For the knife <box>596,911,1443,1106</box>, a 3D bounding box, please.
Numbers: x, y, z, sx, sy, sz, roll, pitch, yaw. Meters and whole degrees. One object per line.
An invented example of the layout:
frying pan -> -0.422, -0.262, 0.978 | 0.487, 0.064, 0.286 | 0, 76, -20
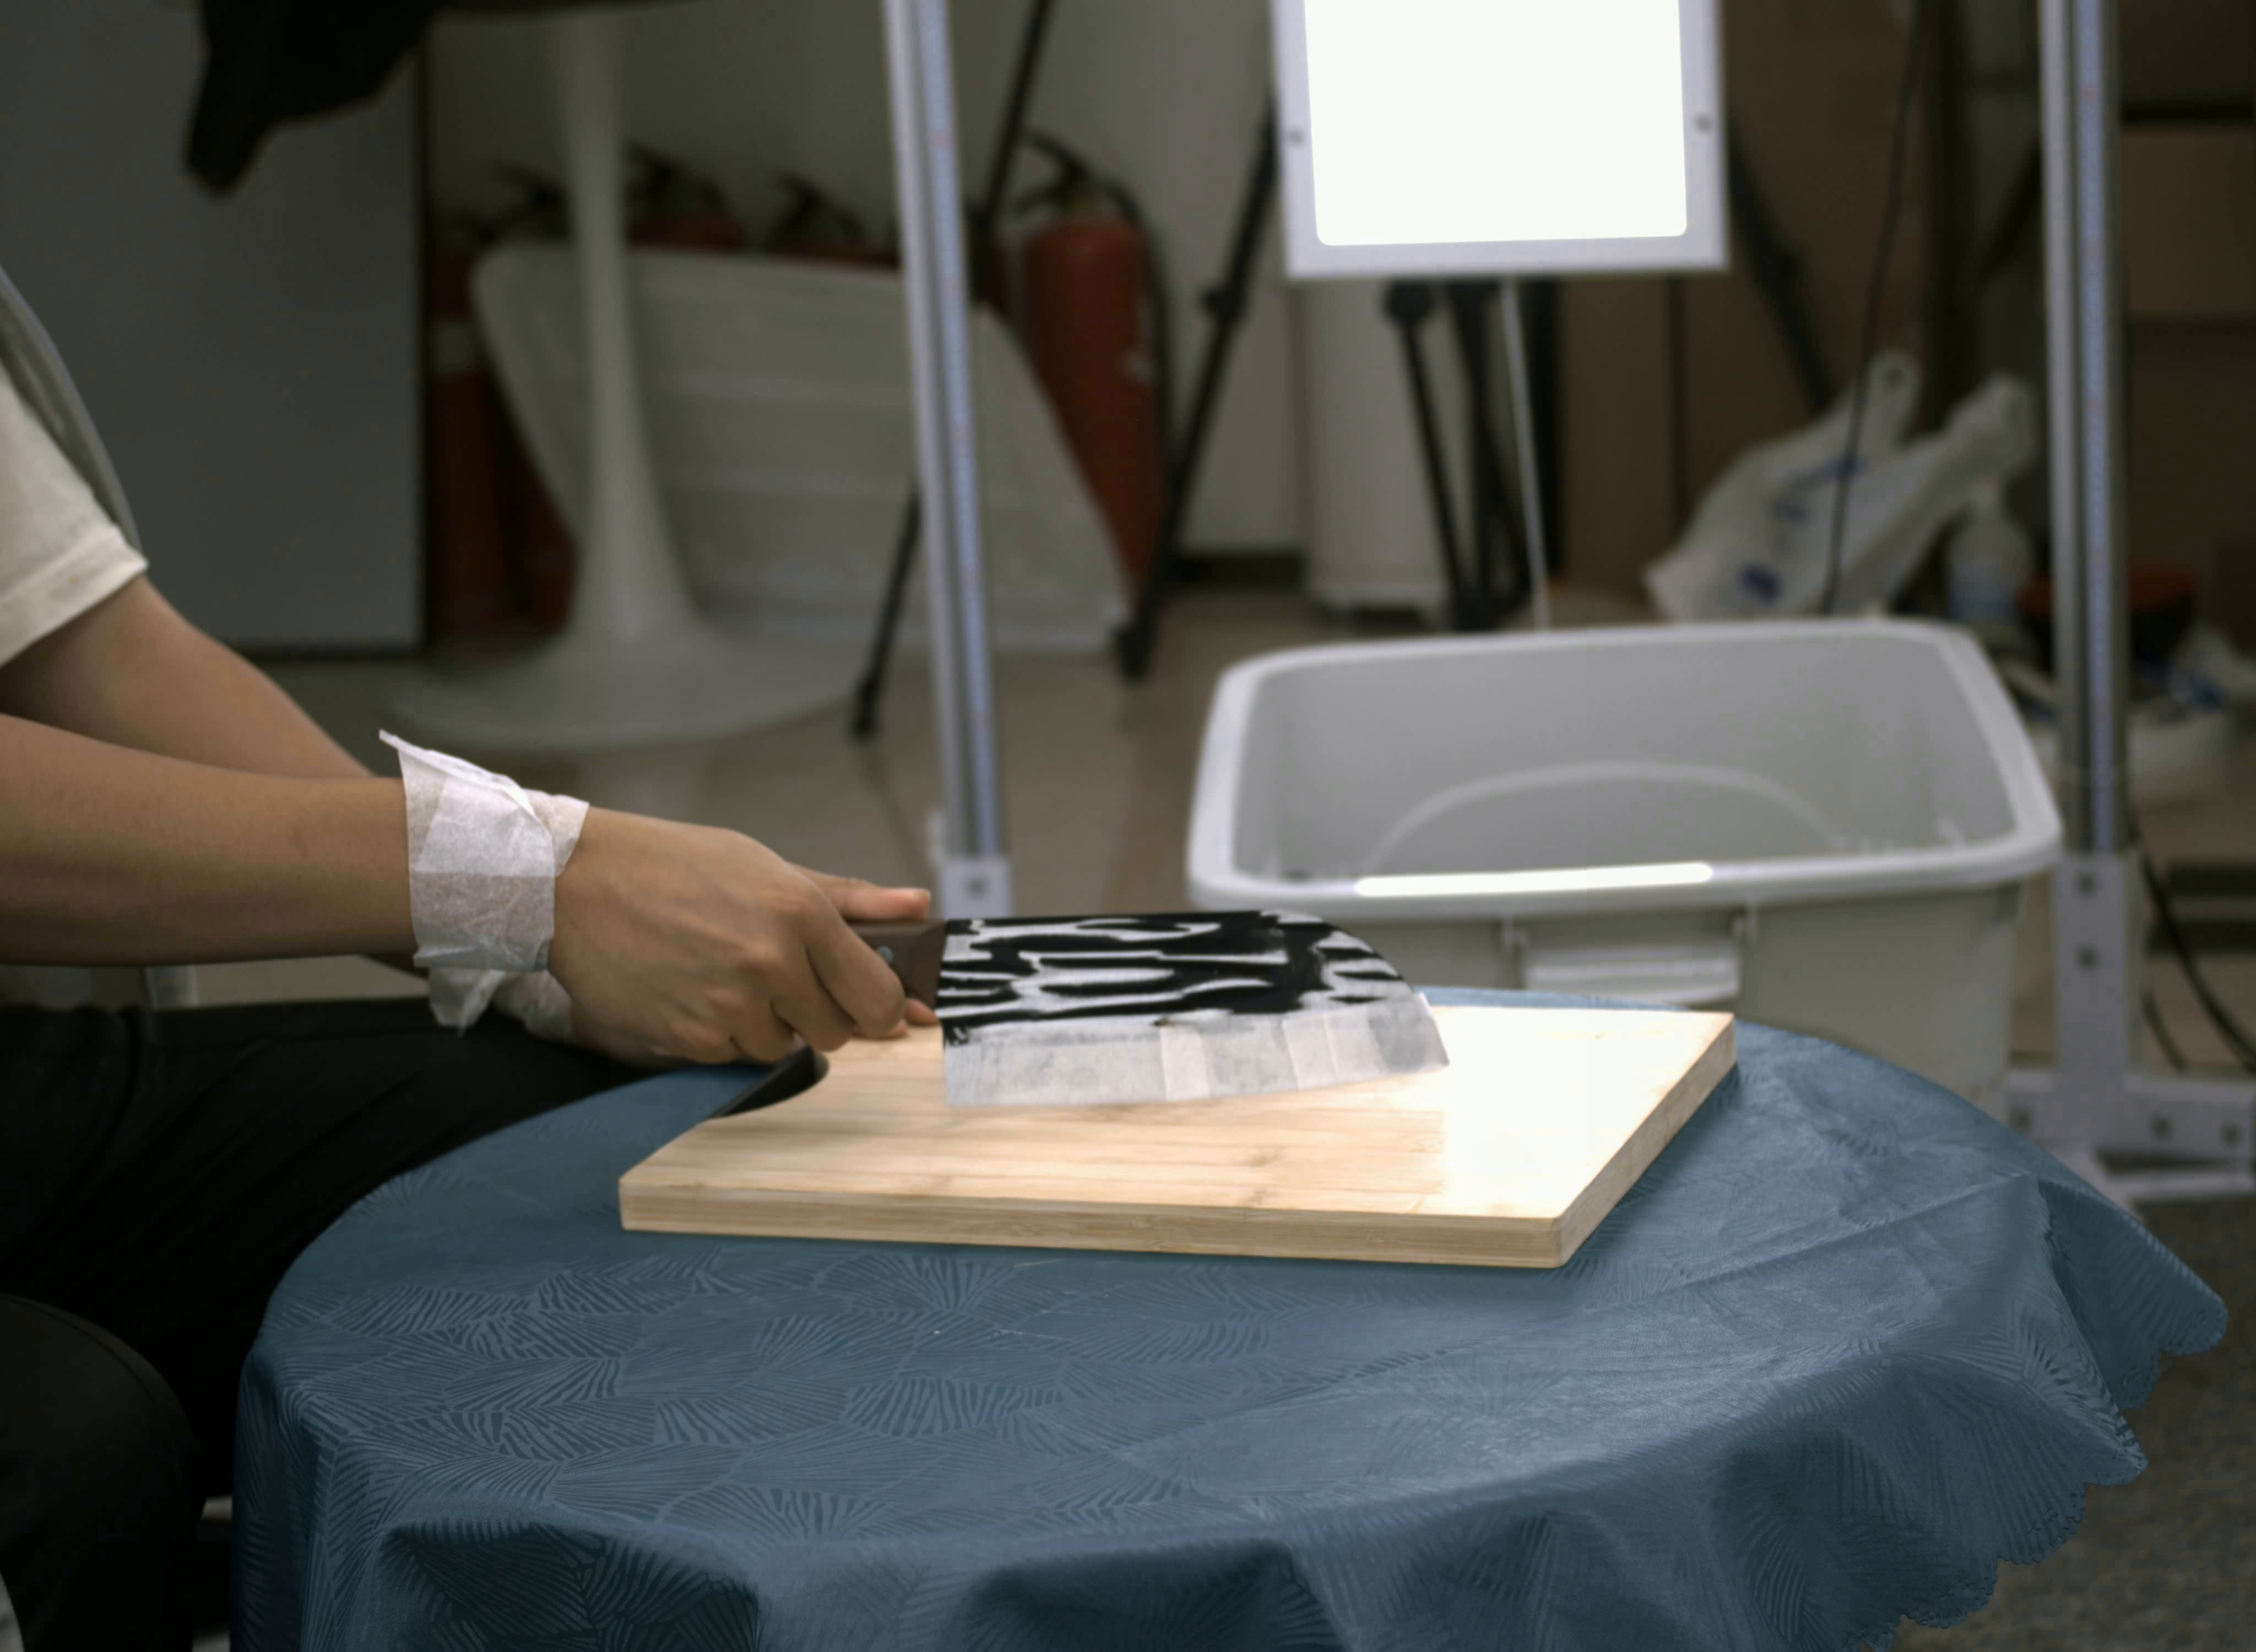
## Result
knife -> -0.039, 0.064, 1.934 | 0.300, 0.068, 0.024 | -1, 1, 6

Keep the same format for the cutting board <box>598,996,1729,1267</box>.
cutting board -> 0.017, 0.104, 1.948 | 0.353, 0.023, 0.246 | 0, 14, 21
